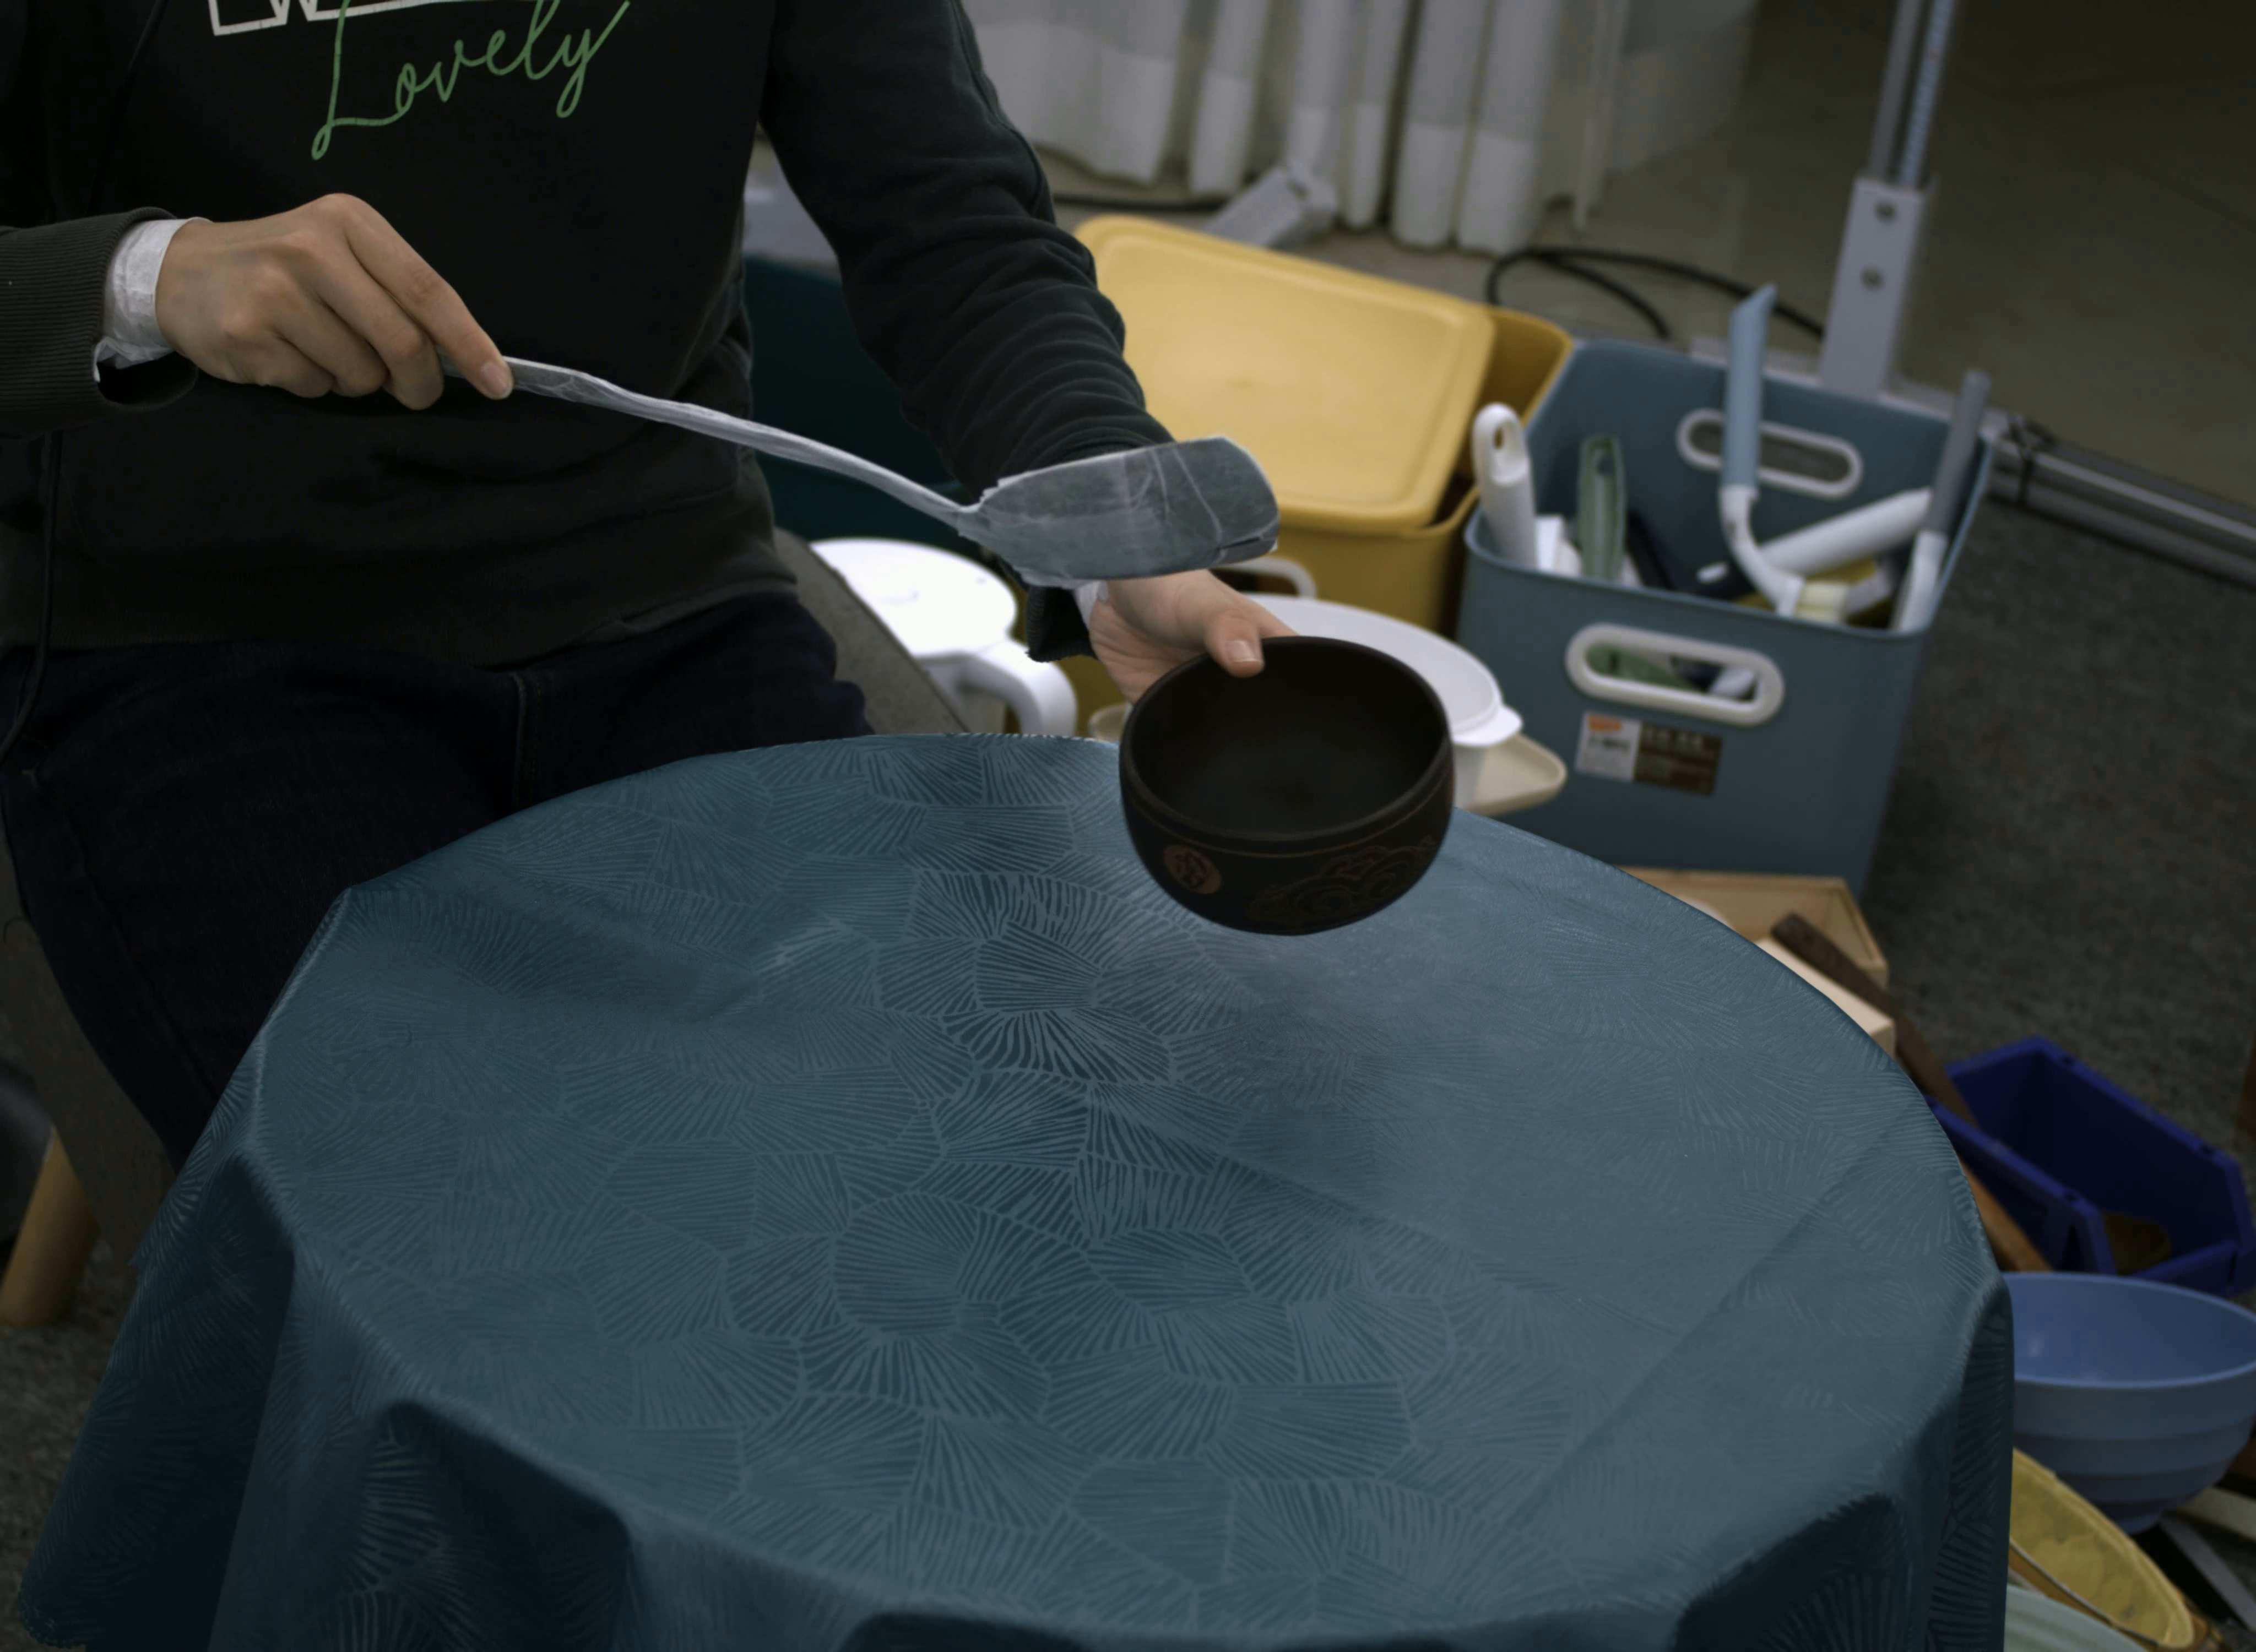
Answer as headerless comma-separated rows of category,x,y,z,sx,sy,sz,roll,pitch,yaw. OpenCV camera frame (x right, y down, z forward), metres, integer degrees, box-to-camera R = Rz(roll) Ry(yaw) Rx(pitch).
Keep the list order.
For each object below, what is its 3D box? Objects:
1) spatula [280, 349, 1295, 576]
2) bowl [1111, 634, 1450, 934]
spatula,-0.123,-0.136,1.821,0.365,0.098,0.045,14,71,15
bowl,0.054,-0.006,1.862,0.118,0.069,0.119,-4,37,2
